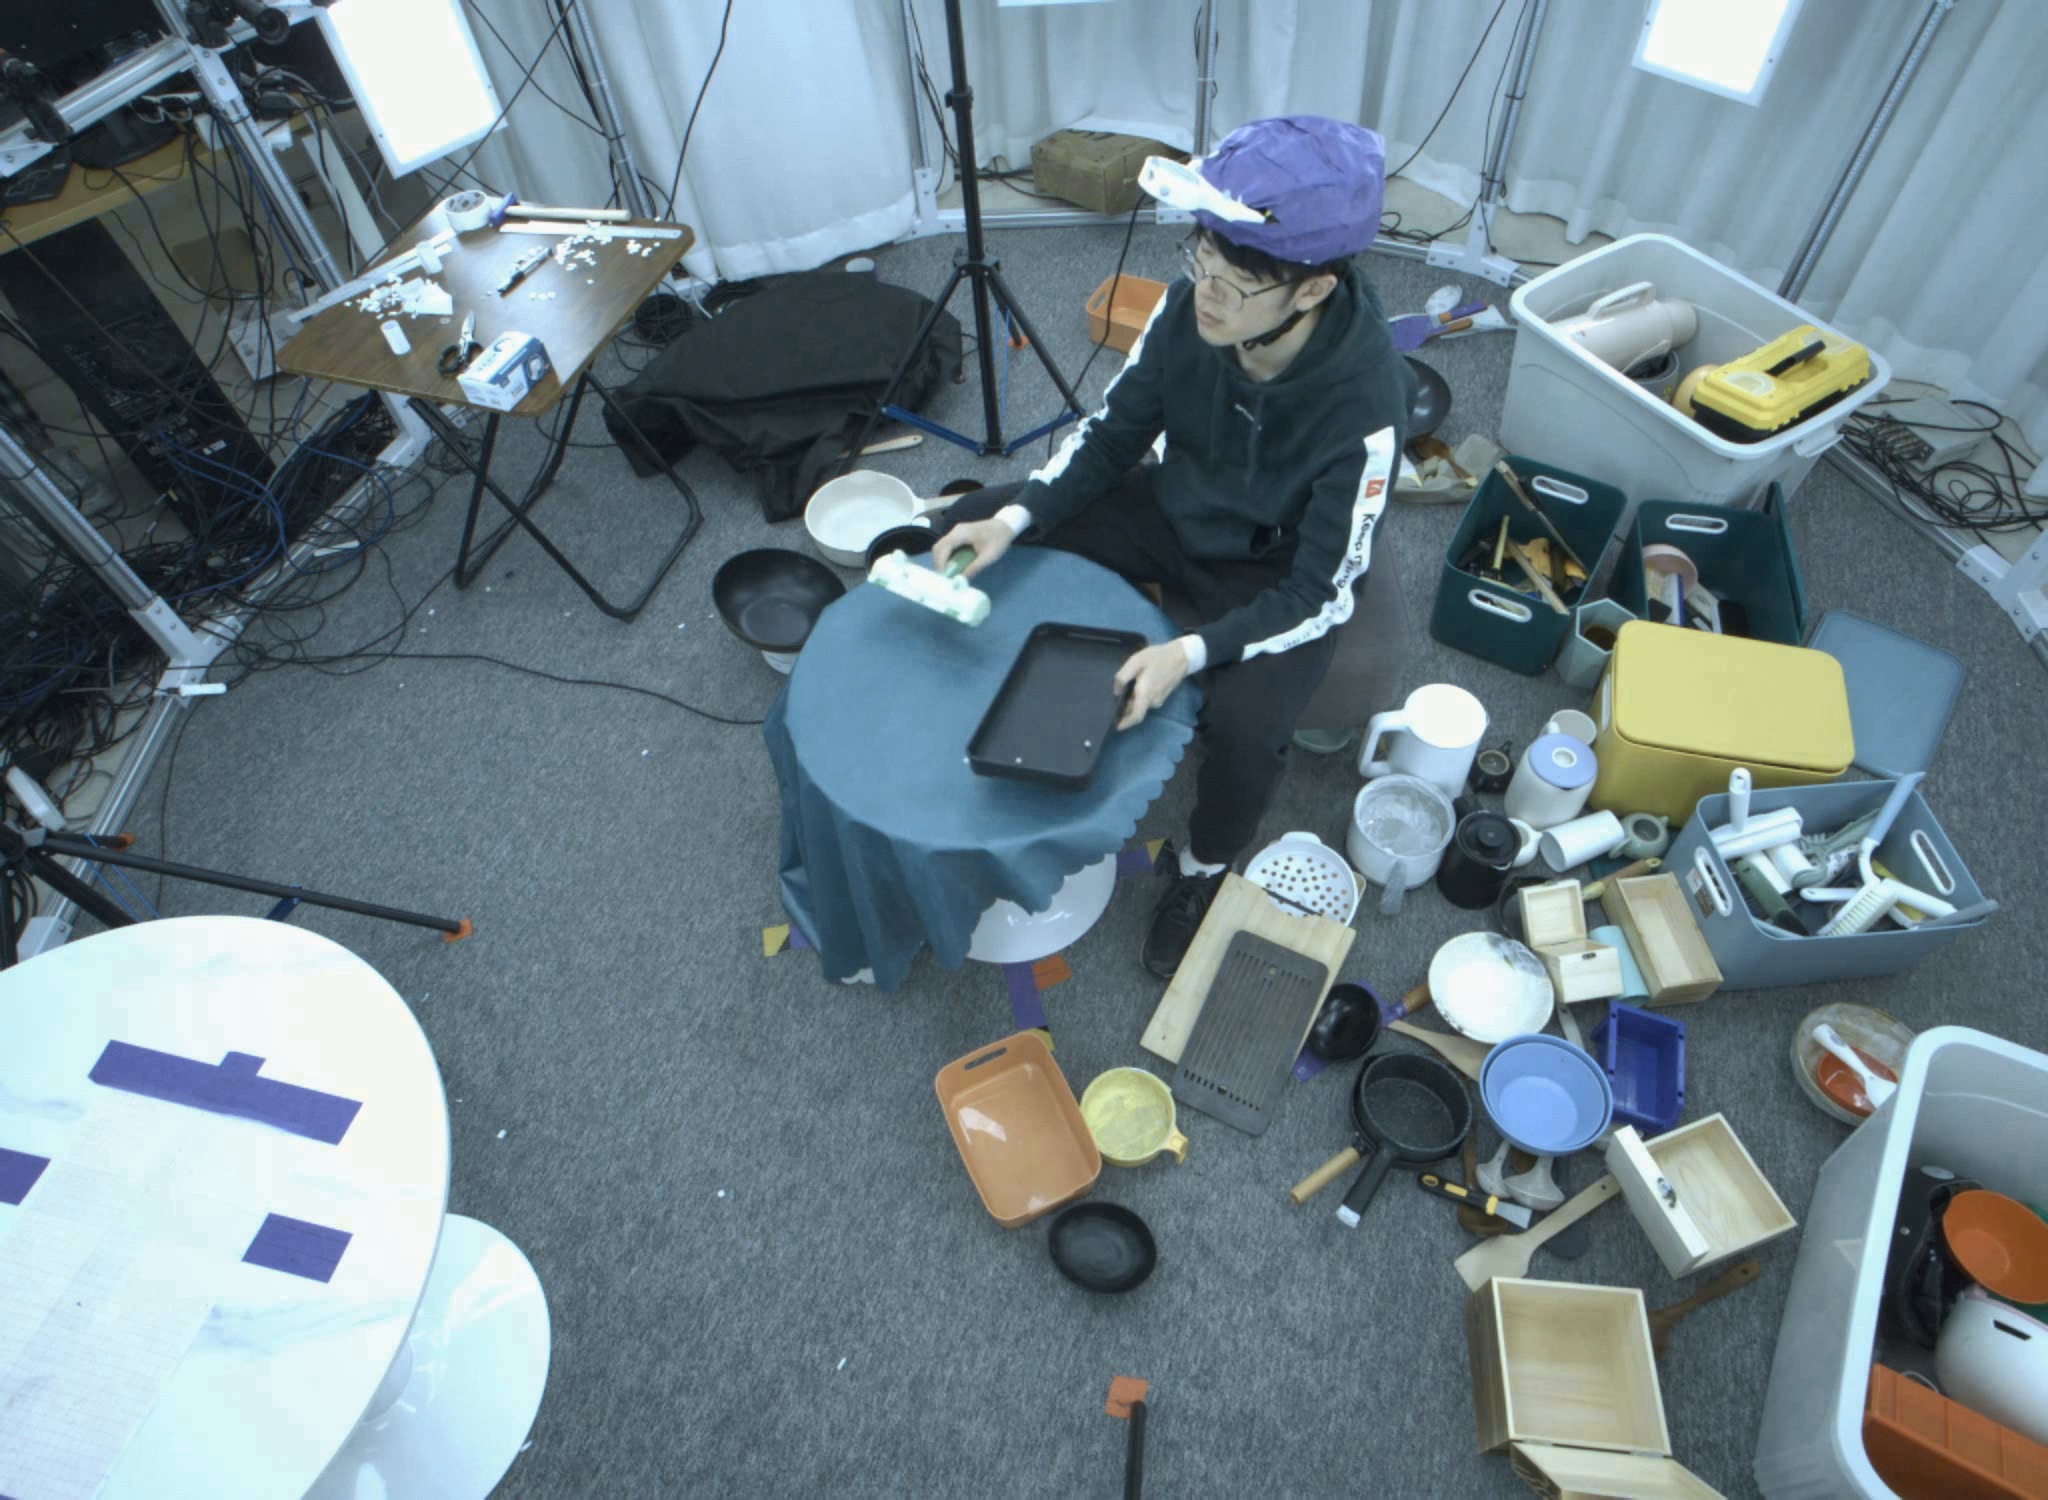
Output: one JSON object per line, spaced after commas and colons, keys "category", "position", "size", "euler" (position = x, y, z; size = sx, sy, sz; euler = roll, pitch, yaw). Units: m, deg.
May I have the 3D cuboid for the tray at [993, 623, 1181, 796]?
{"category": "tray", "position": [0.096, -0.065, 1.757], "size": [0.182, 0.037, 0.318], "euler": [12, 46, 18]}

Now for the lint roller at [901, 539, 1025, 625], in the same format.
{"category": "lint roller", "position": [-0.062, -0.287, 1.881], "size": [0.195, 0.083, 0.184], "euler": [26, 60, 23]}
